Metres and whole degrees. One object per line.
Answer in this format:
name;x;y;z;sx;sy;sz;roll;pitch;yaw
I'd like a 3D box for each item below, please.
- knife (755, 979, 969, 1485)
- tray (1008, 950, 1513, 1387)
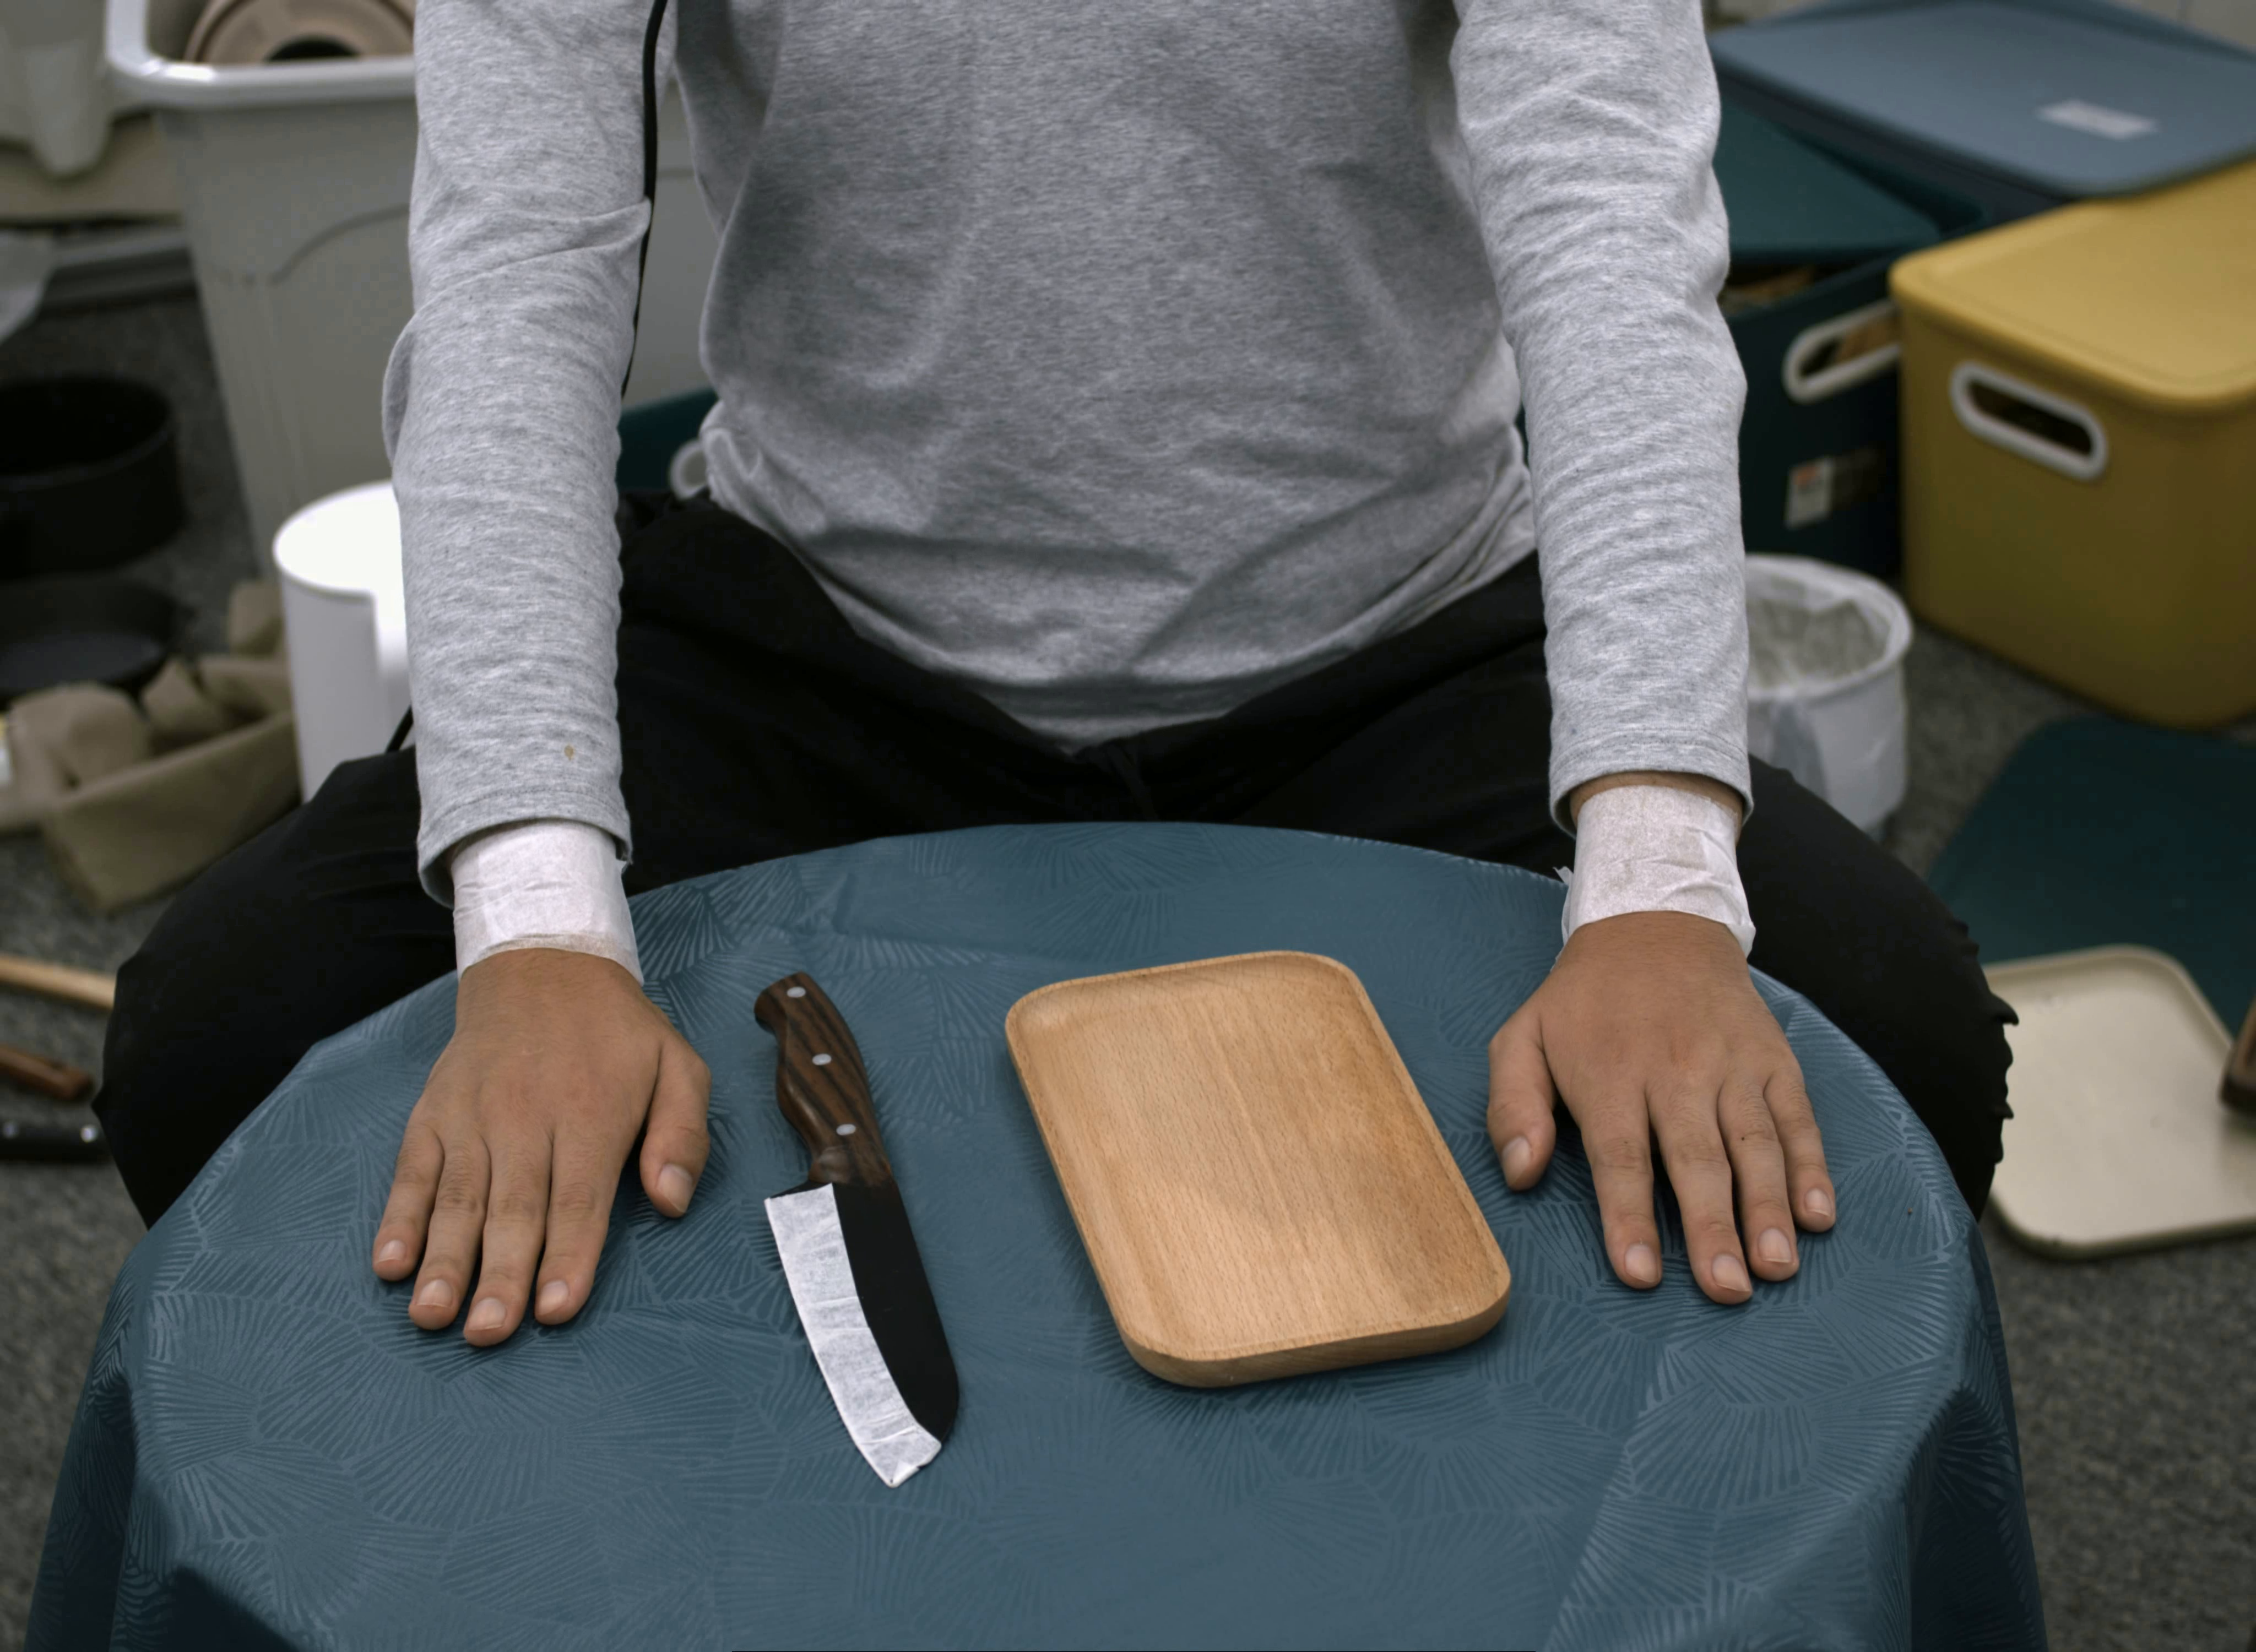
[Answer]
knife;-0.092;0.131;1.837;0.050;0.020;0.293;-11;30;-5
tray;0.040;0.111;1.862;0.130;0.022;0.253;-5;26;-9
